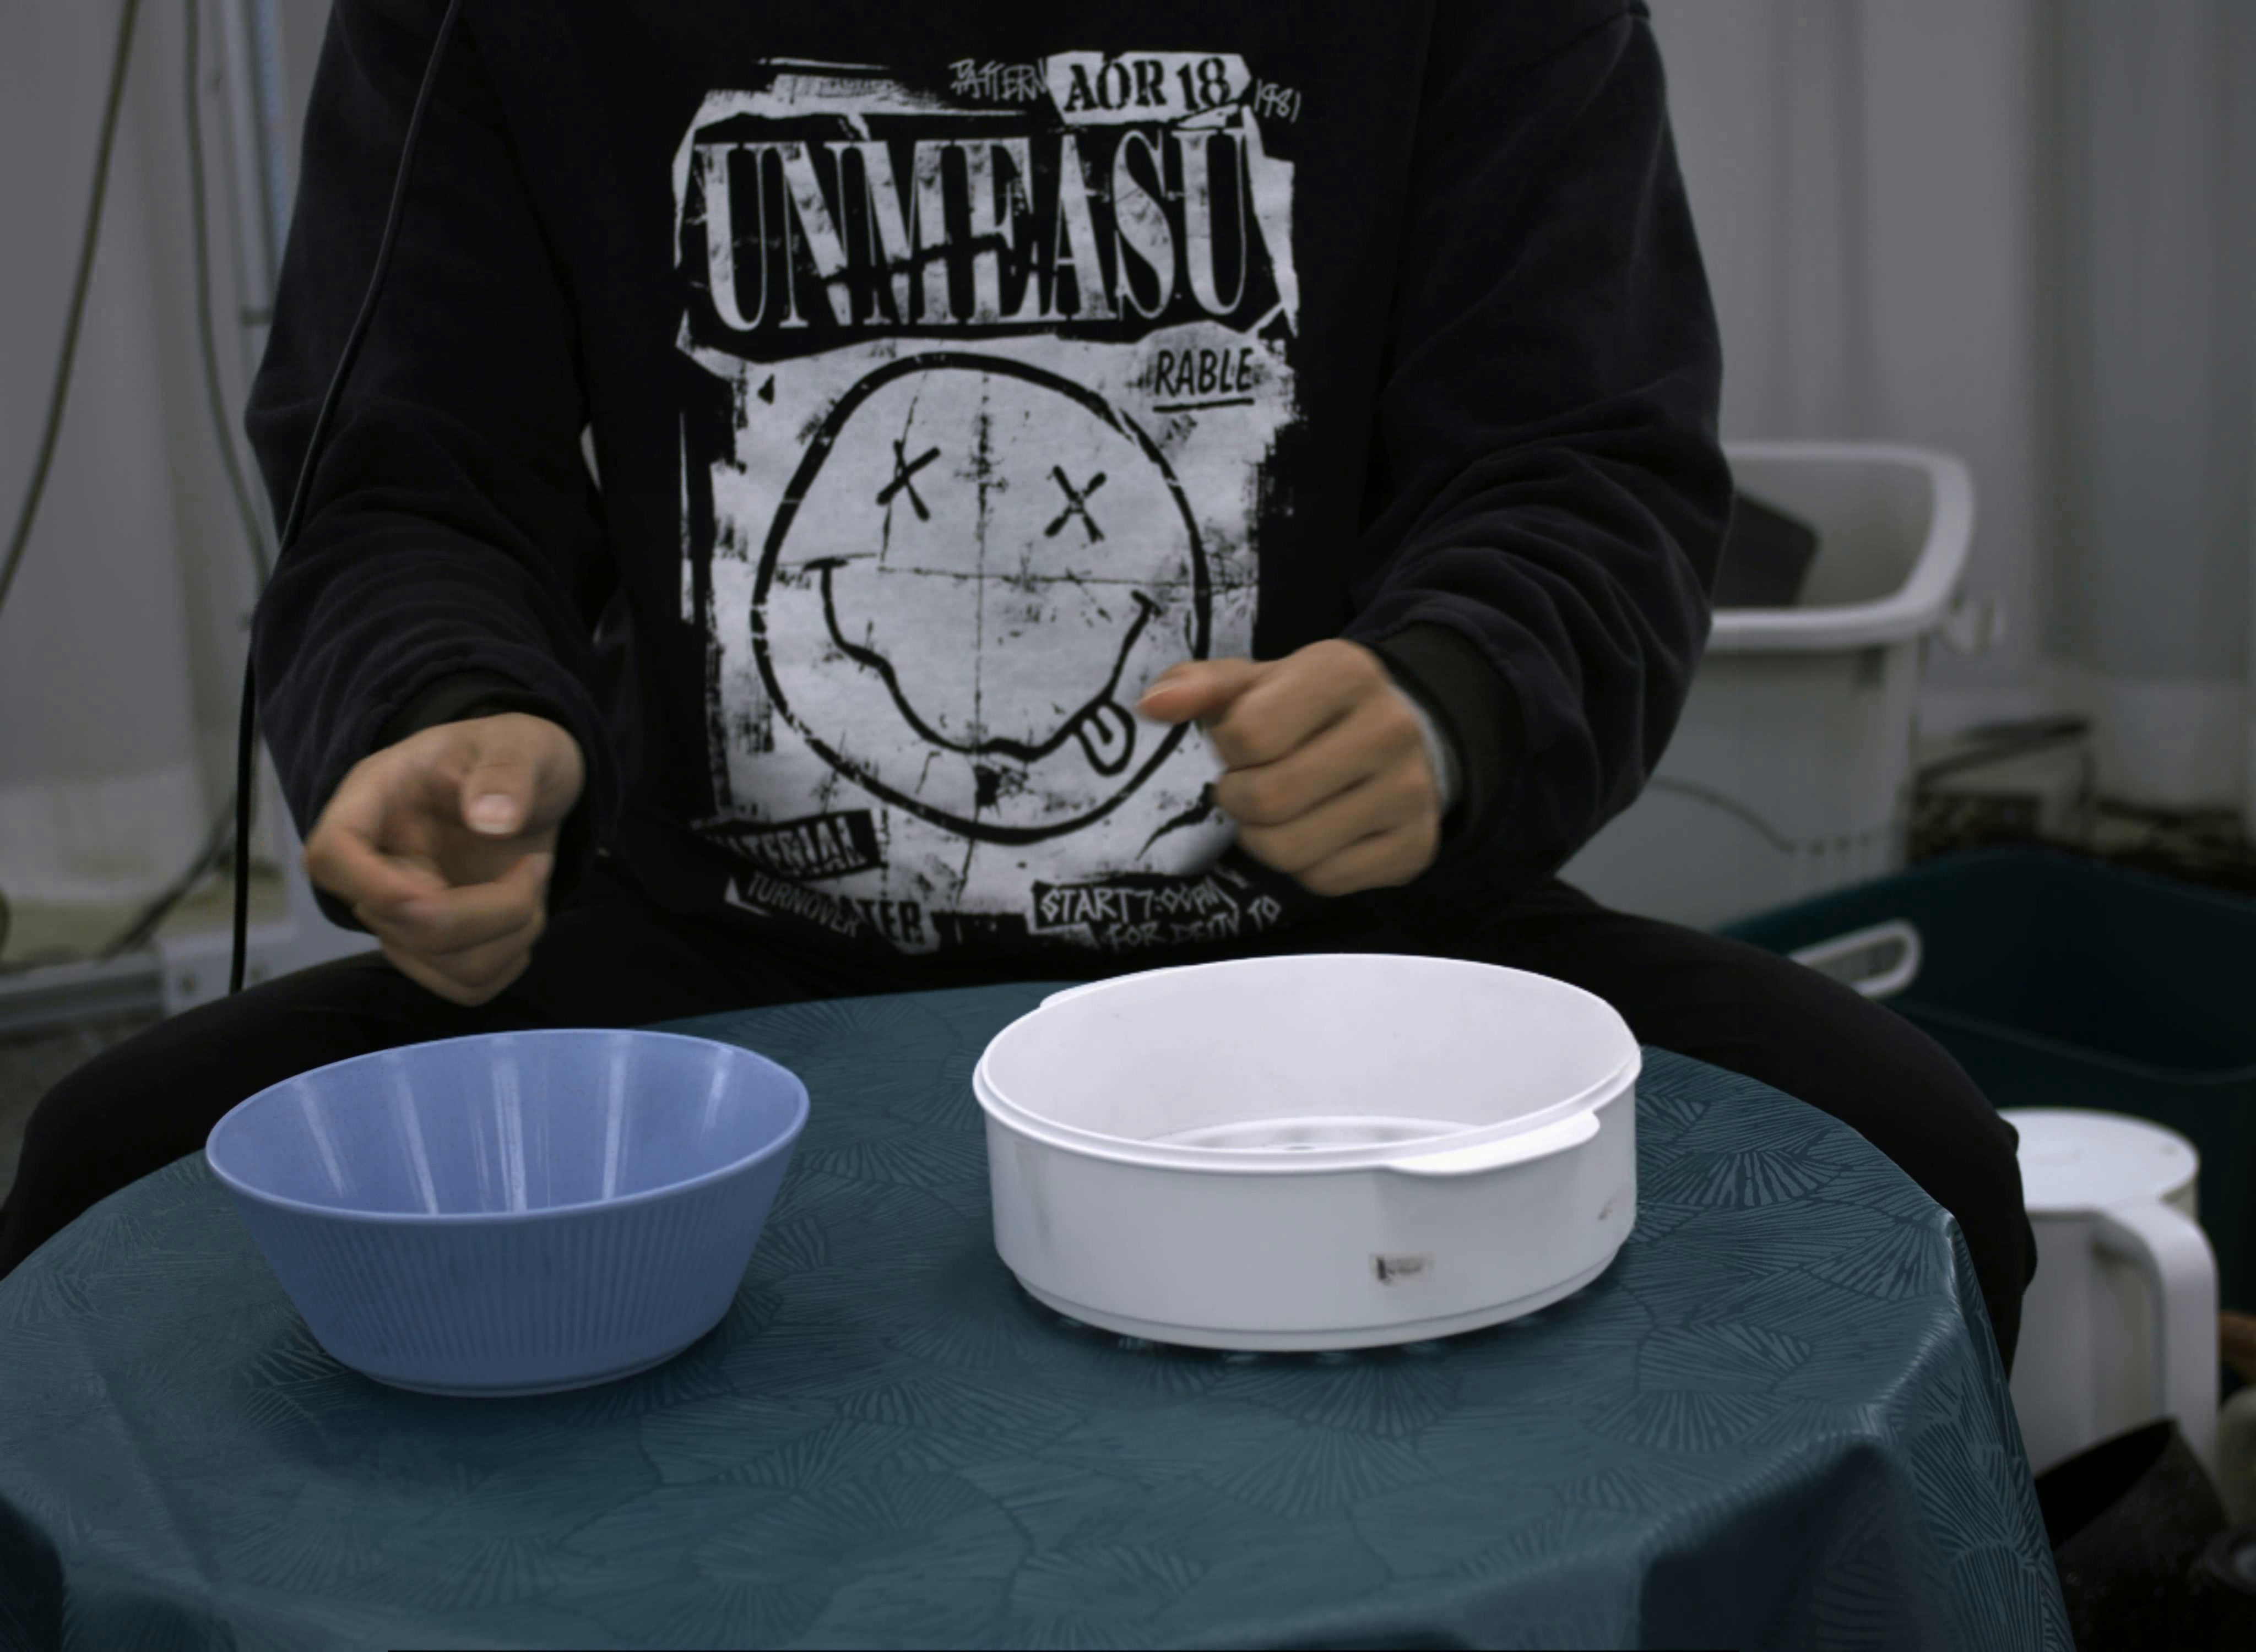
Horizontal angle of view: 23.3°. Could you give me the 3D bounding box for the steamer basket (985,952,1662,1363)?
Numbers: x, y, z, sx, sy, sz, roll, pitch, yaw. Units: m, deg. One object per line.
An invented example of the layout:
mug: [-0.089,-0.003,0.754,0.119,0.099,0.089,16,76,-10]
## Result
steamer basket: [0.059,0.099,1.632,0.201,0.069,0.232,-12,19,-30]

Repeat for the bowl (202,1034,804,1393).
bowl: [-0.181,0.116,1.607,0.175,0.070,0.177,-2,14,0]
